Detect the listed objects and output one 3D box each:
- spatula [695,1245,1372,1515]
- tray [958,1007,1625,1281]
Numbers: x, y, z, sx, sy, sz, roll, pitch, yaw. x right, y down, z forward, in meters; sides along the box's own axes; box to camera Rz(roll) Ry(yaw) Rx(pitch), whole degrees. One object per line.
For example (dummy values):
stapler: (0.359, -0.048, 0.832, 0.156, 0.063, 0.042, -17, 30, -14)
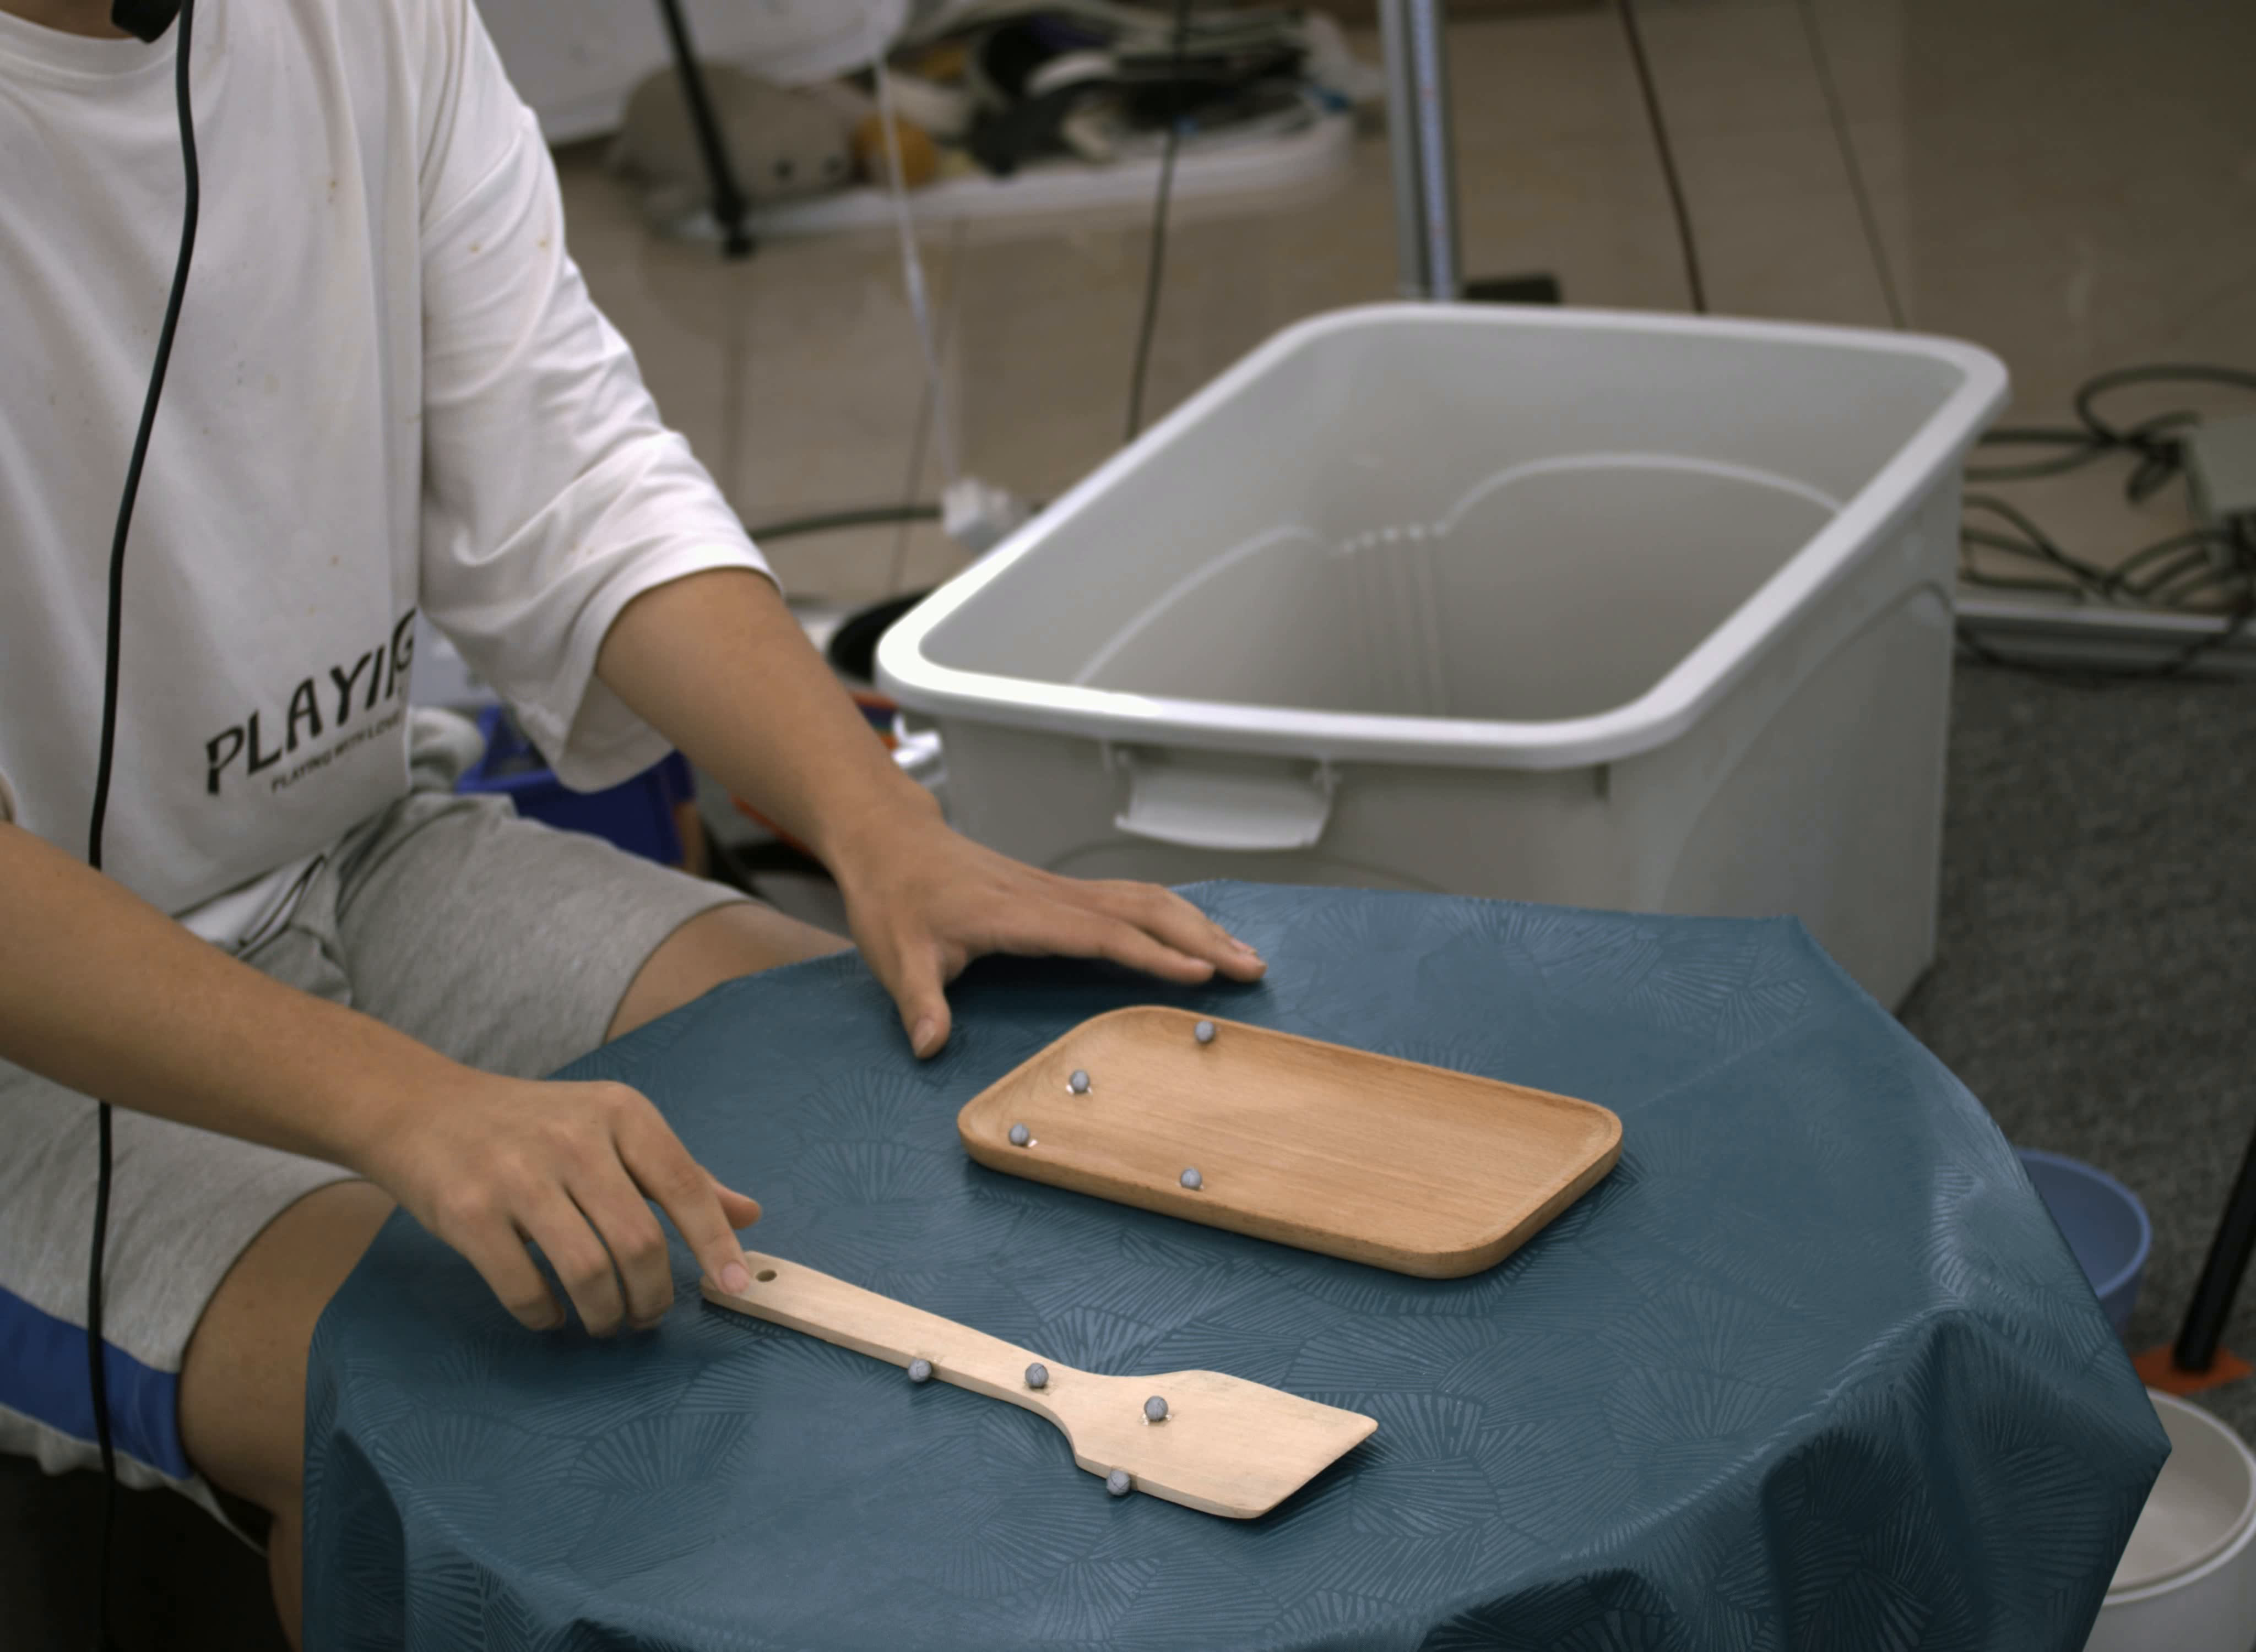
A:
spatula: (-0.046, 0.193, 2.030, 0.291, 0.011, 0.071, 15, 33, 38)
tray: (0.060, 0.119, 2.155, 0.249, 0.023, 0.129, 13, 34, 36)
